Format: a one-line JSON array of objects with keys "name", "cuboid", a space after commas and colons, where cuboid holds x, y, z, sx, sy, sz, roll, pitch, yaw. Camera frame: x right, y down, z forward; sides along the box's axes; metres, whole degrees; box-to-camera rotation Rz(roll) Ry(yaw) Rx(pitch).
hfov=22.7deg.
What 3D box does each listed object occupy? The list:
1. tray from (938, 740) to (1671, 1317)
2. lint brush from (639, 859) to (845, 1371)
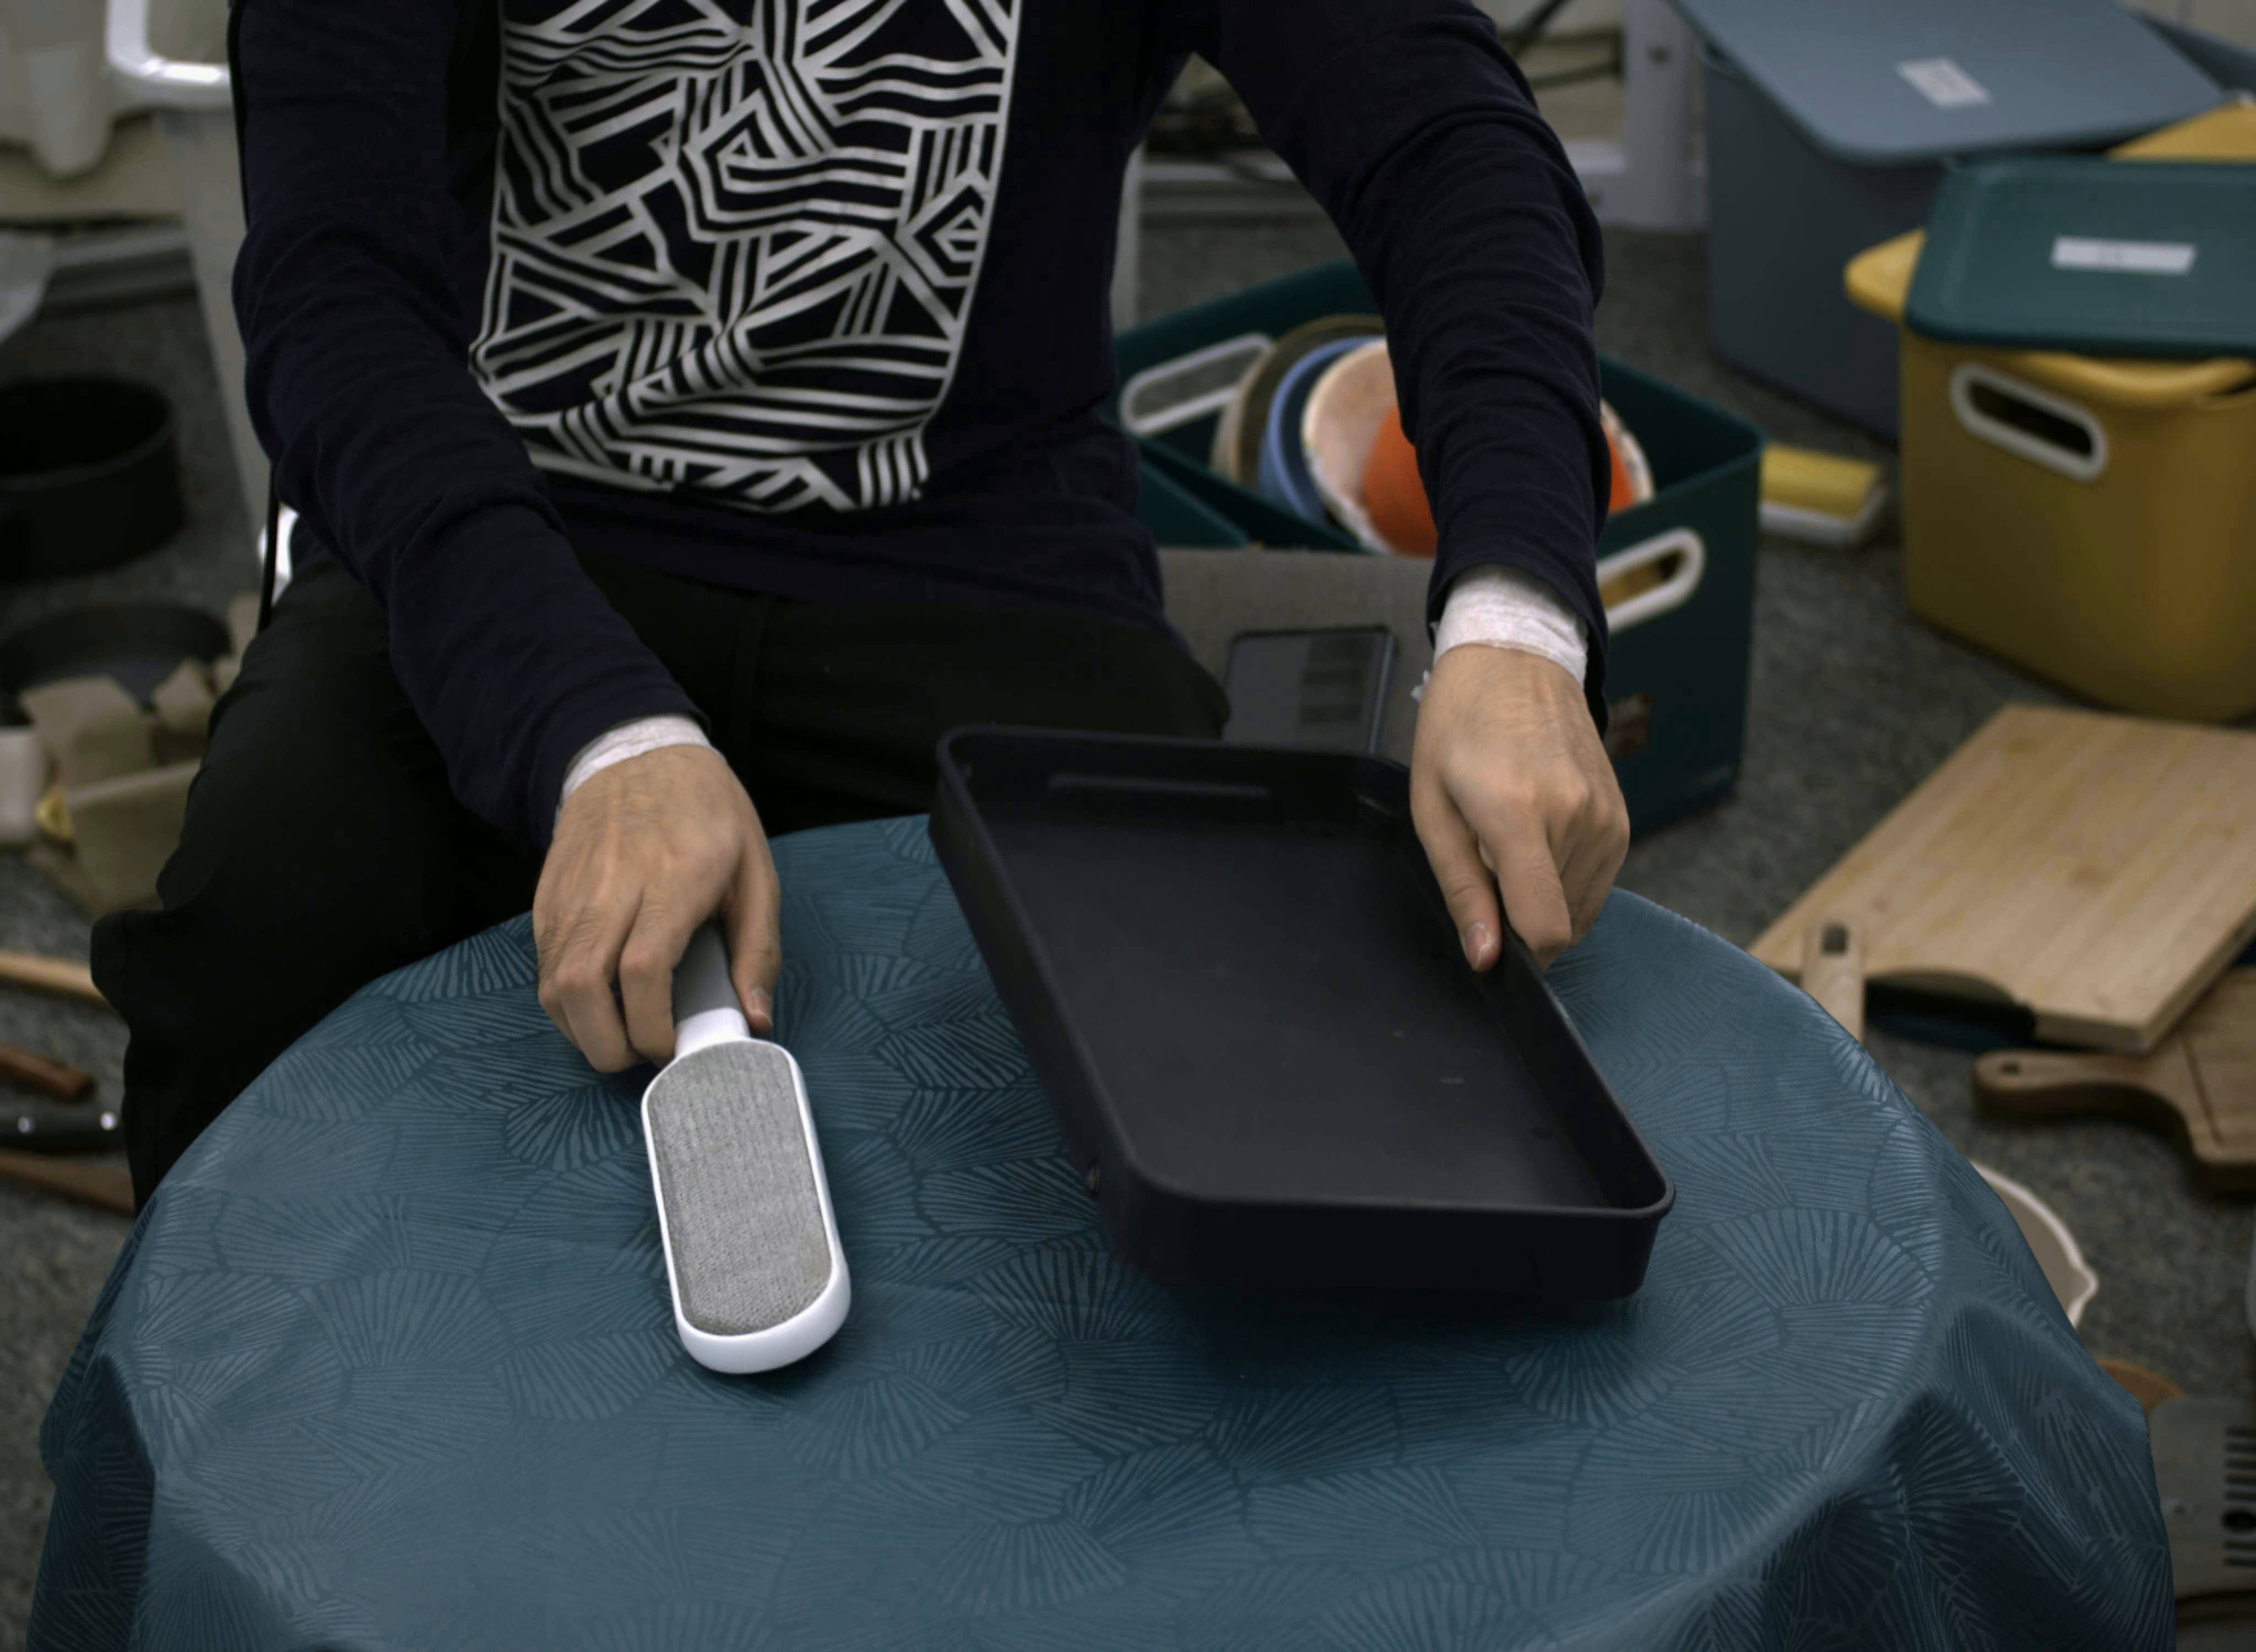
[{"name": "tray", "cuboid": [0.050, 0.062, 1.871, 0.184, 0.036, 0.322, 3, 27, -16]}, {"name": "lint brush", "cuboid": [-0.136, 0.091, 1.892, 0.060, 0.021, 0.313, -19, 30, 0]}]
